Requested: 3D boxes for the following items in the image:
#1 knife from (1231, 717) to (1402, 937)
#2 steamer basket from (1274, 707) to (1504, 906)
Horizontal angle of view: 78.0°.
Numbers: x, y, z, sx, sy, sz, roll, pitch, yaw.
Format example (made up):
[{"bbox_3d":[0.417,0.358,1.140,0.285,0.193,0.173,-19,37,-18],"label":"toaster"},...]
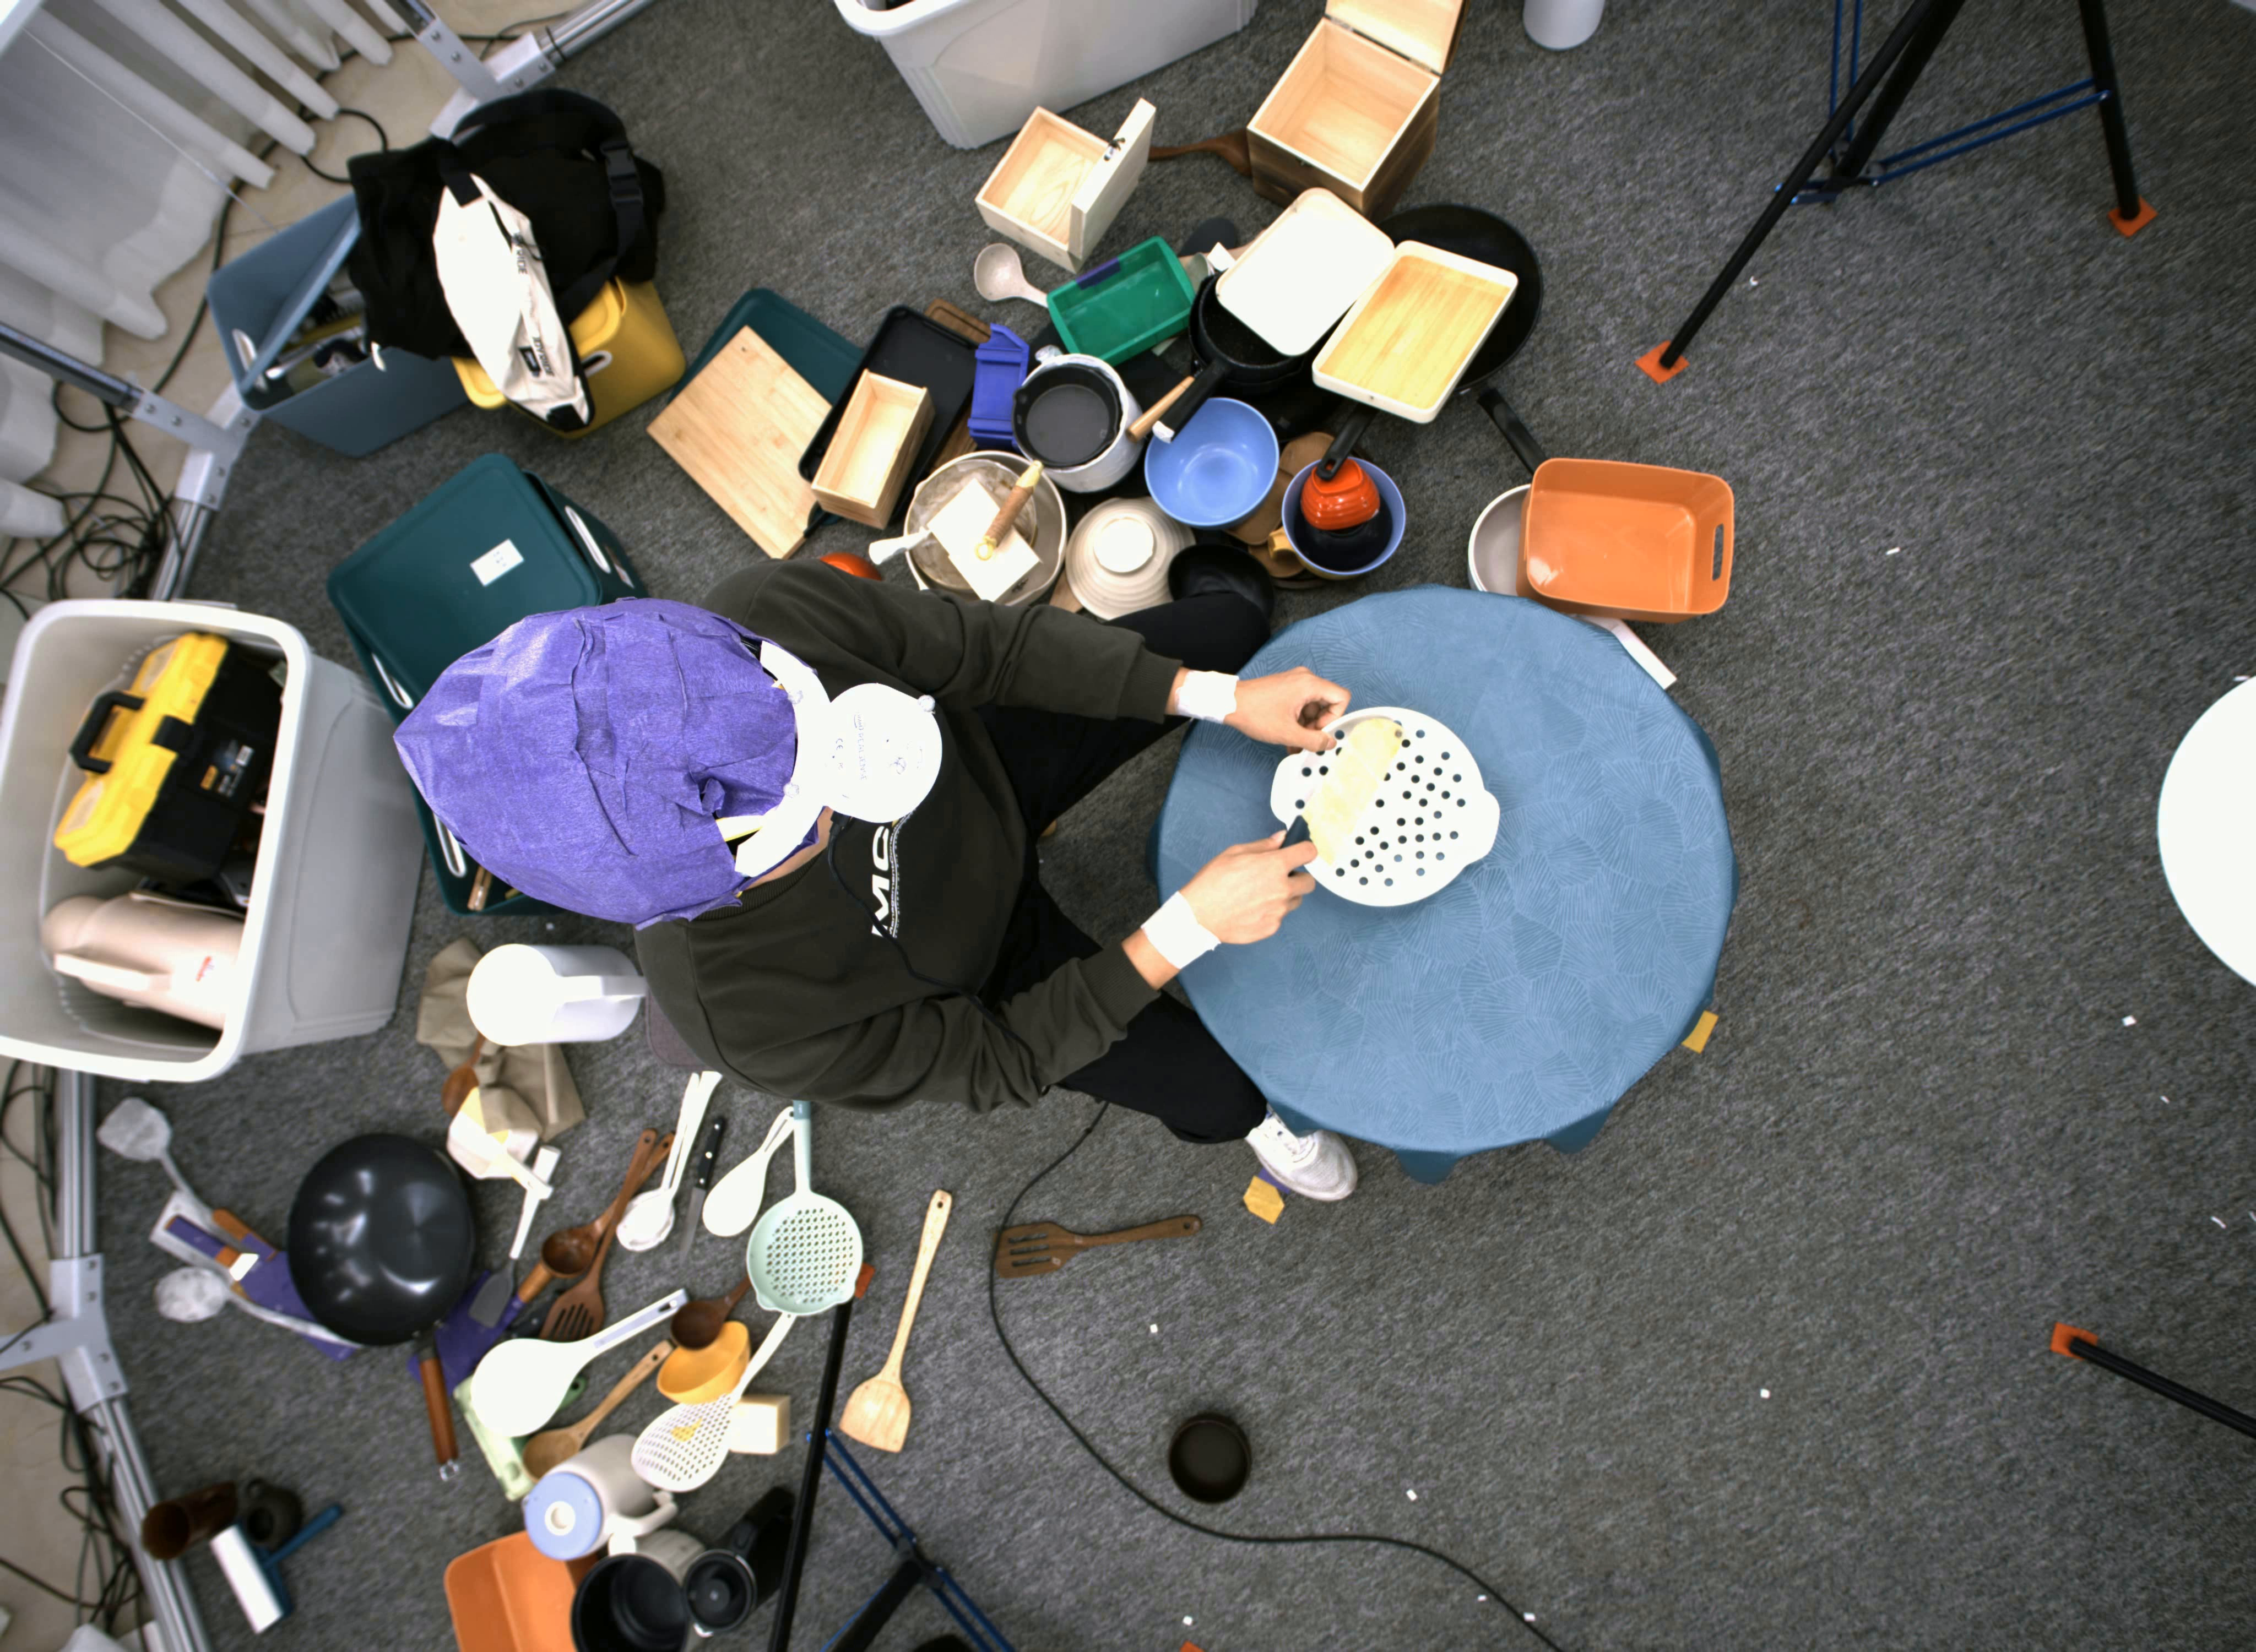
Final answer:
[{"bbox_3d":[0.195,0.001,1.384,0.286,0.027,0.082,-52,123,-13],"label":"knife"},{"bbox_3d":[0.267,-0.022,1.419,0.231,0.068,0.203,12,98,6],"label":"steamer basket"}]
